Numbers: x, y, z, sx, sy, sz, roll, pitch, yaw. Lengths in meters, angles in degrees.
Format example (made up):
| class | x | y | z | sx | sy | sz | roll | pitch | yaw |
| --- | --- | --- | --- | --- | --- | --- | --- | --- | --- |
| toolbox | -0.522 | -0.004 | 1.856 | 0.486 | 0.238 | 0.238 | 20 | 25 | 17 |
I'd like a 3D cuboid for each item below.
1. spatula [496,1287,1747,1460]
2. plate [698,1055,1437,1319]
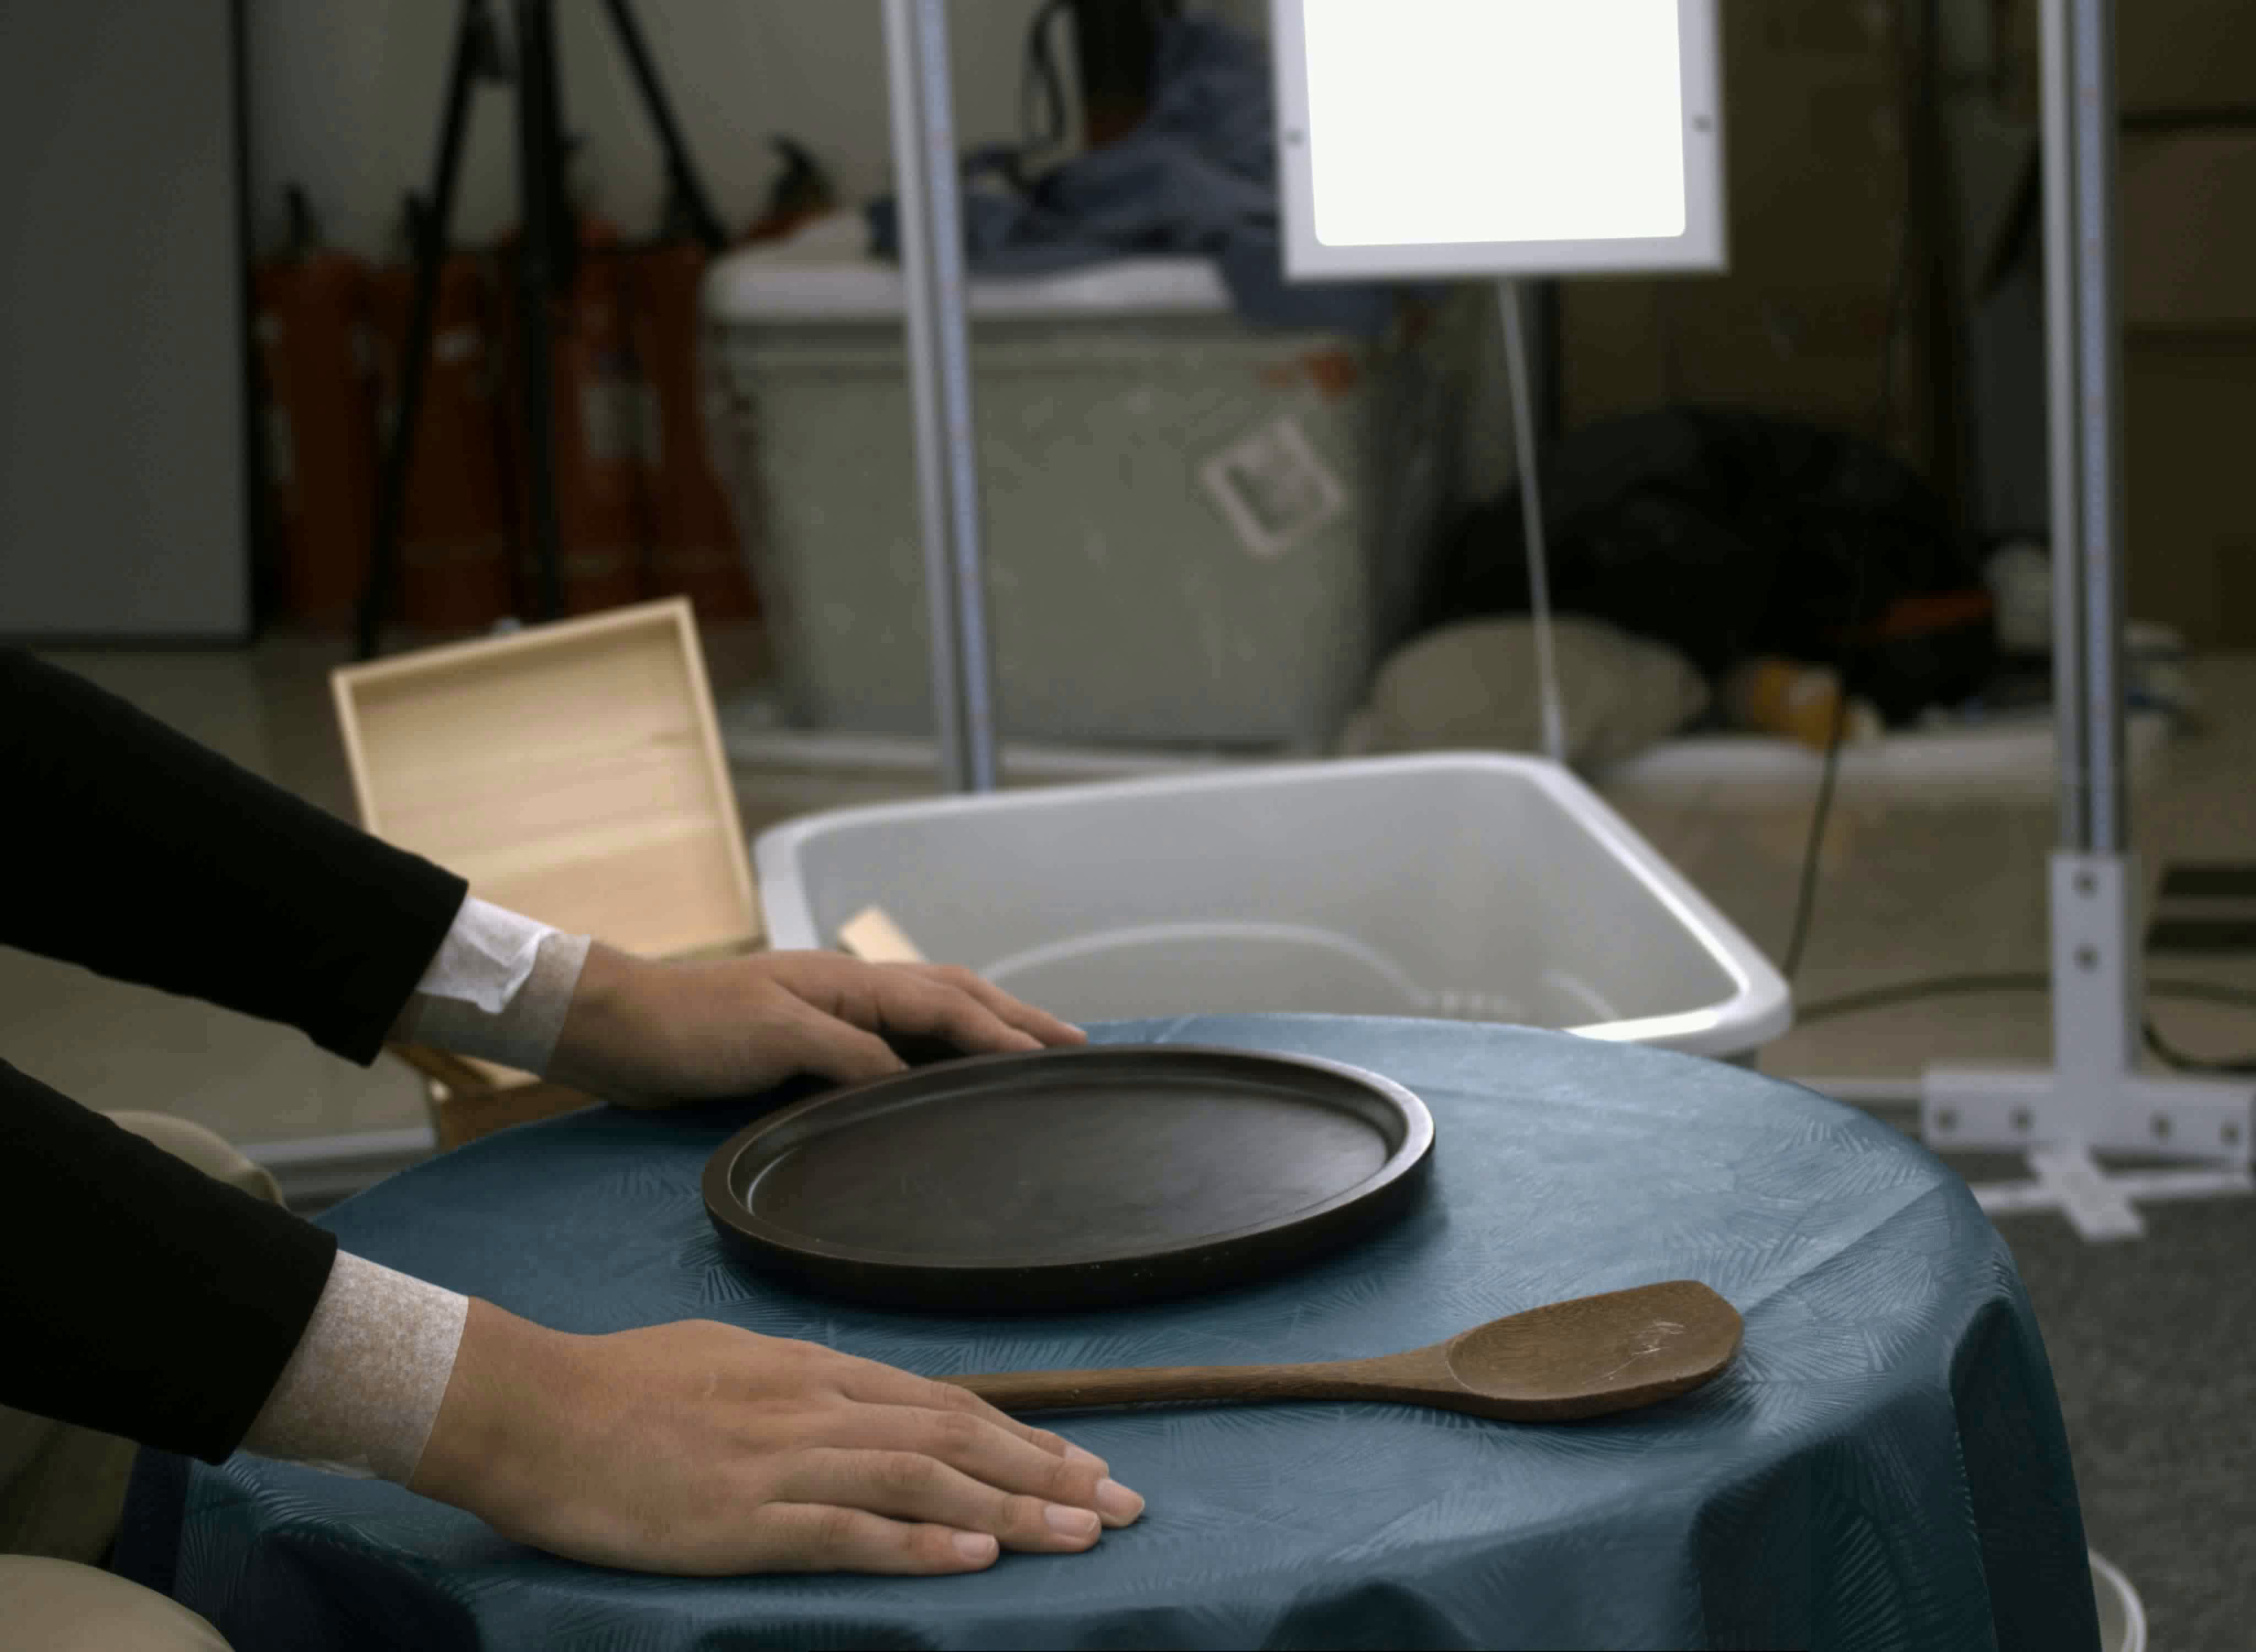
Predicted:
| class | x | y | z | sx | sy | sz | roll | pitch | yaw |
| --- | --- | --- | --- | --- | --- | --- | --- | --- | --- |
| spatula | -0.003 | 0.172 | 1.685 | 0.386 | 0.016 | 0.095 | -4 | 13 | 5 |
| plate | -0.021 | 0.121 | 1.885 | 0.254 | 0.029 | 0.254 | -4 | 15 | 0 |
